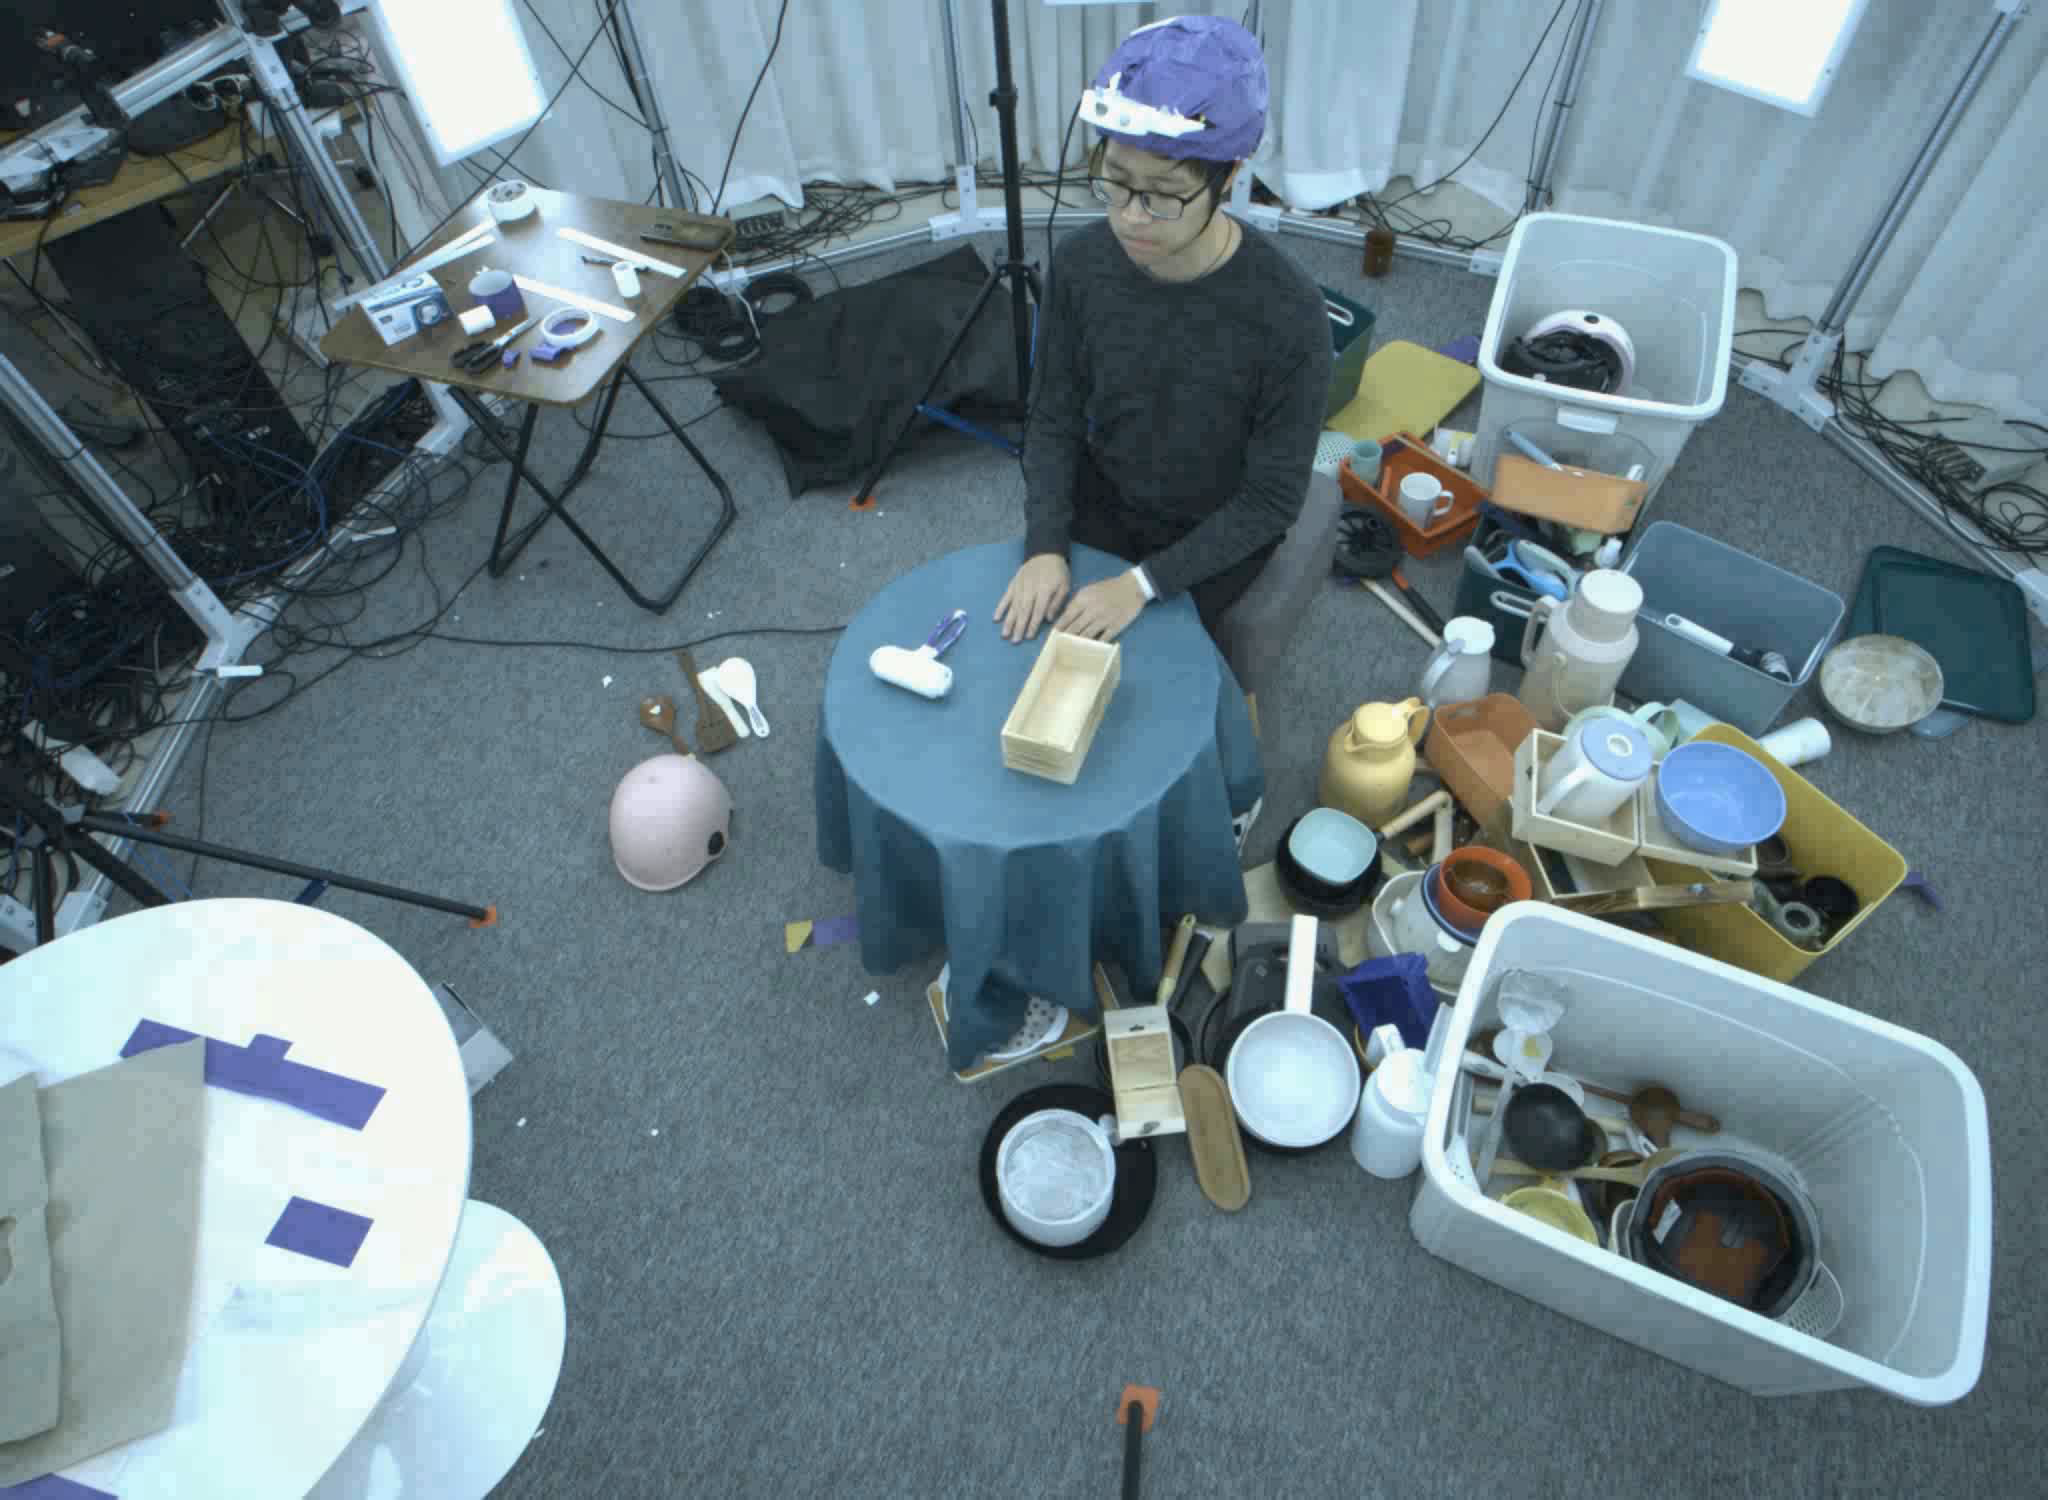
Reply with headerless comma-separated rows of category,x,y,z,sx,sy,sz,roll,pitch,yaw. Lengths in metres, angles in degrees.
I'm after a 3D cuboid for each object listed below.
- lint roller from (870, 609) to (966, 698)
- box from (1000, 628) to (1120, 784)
lint roller,-0.140,-0.164,1.879,0.131,0.051,0.181,23,61,19
box,0.055,-0.066,1.784,0.106,0.081,0.211,15,56,14
